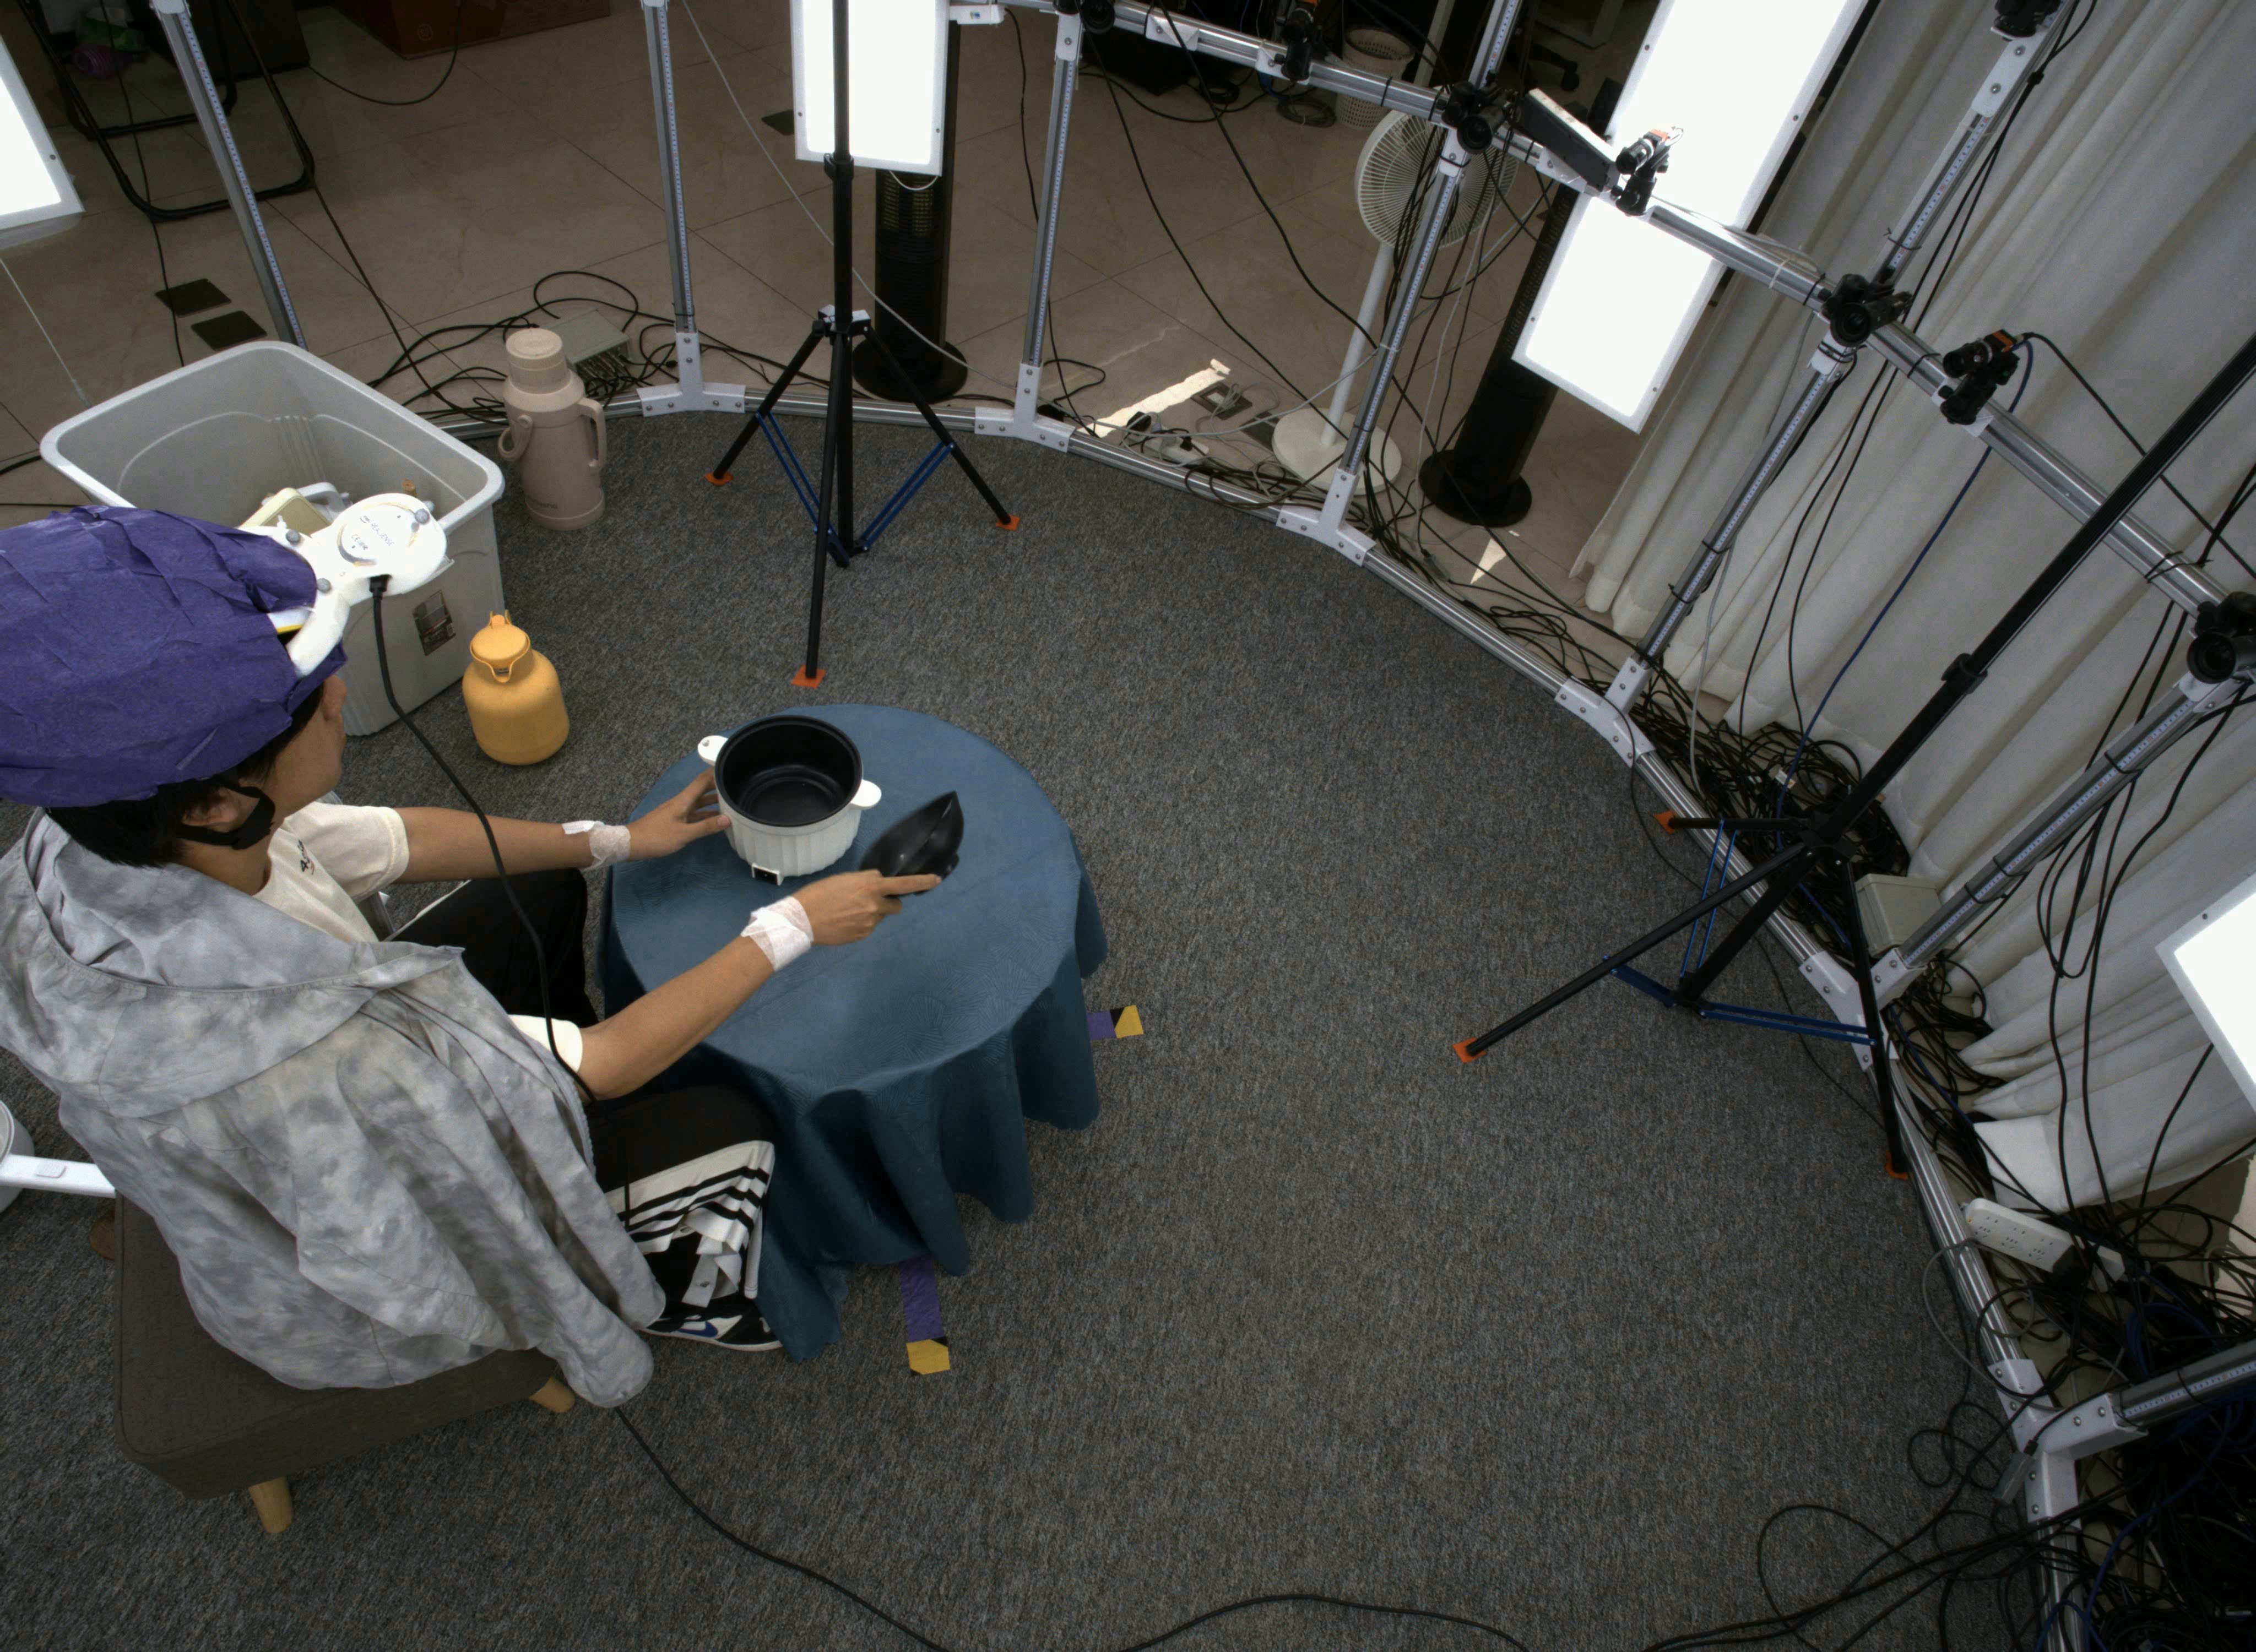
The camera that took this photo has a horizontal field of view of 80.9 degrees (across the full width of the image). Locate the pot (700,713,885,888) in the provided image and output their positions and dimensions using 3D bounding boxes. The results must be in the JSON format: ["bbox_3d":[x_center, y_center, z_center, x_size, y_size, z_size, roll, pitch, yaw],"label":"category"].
[{"bbox_3d":[-0.426,-0.036,1.663,0.238,0.145,0.188,17,55,-1],"label":"pot"}]

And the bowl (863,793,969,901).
[{"bbox_3d":[-0.232,0.034,1.498,0.068,0.135,0.168,50,28,-18],"label":"bowl"}]
